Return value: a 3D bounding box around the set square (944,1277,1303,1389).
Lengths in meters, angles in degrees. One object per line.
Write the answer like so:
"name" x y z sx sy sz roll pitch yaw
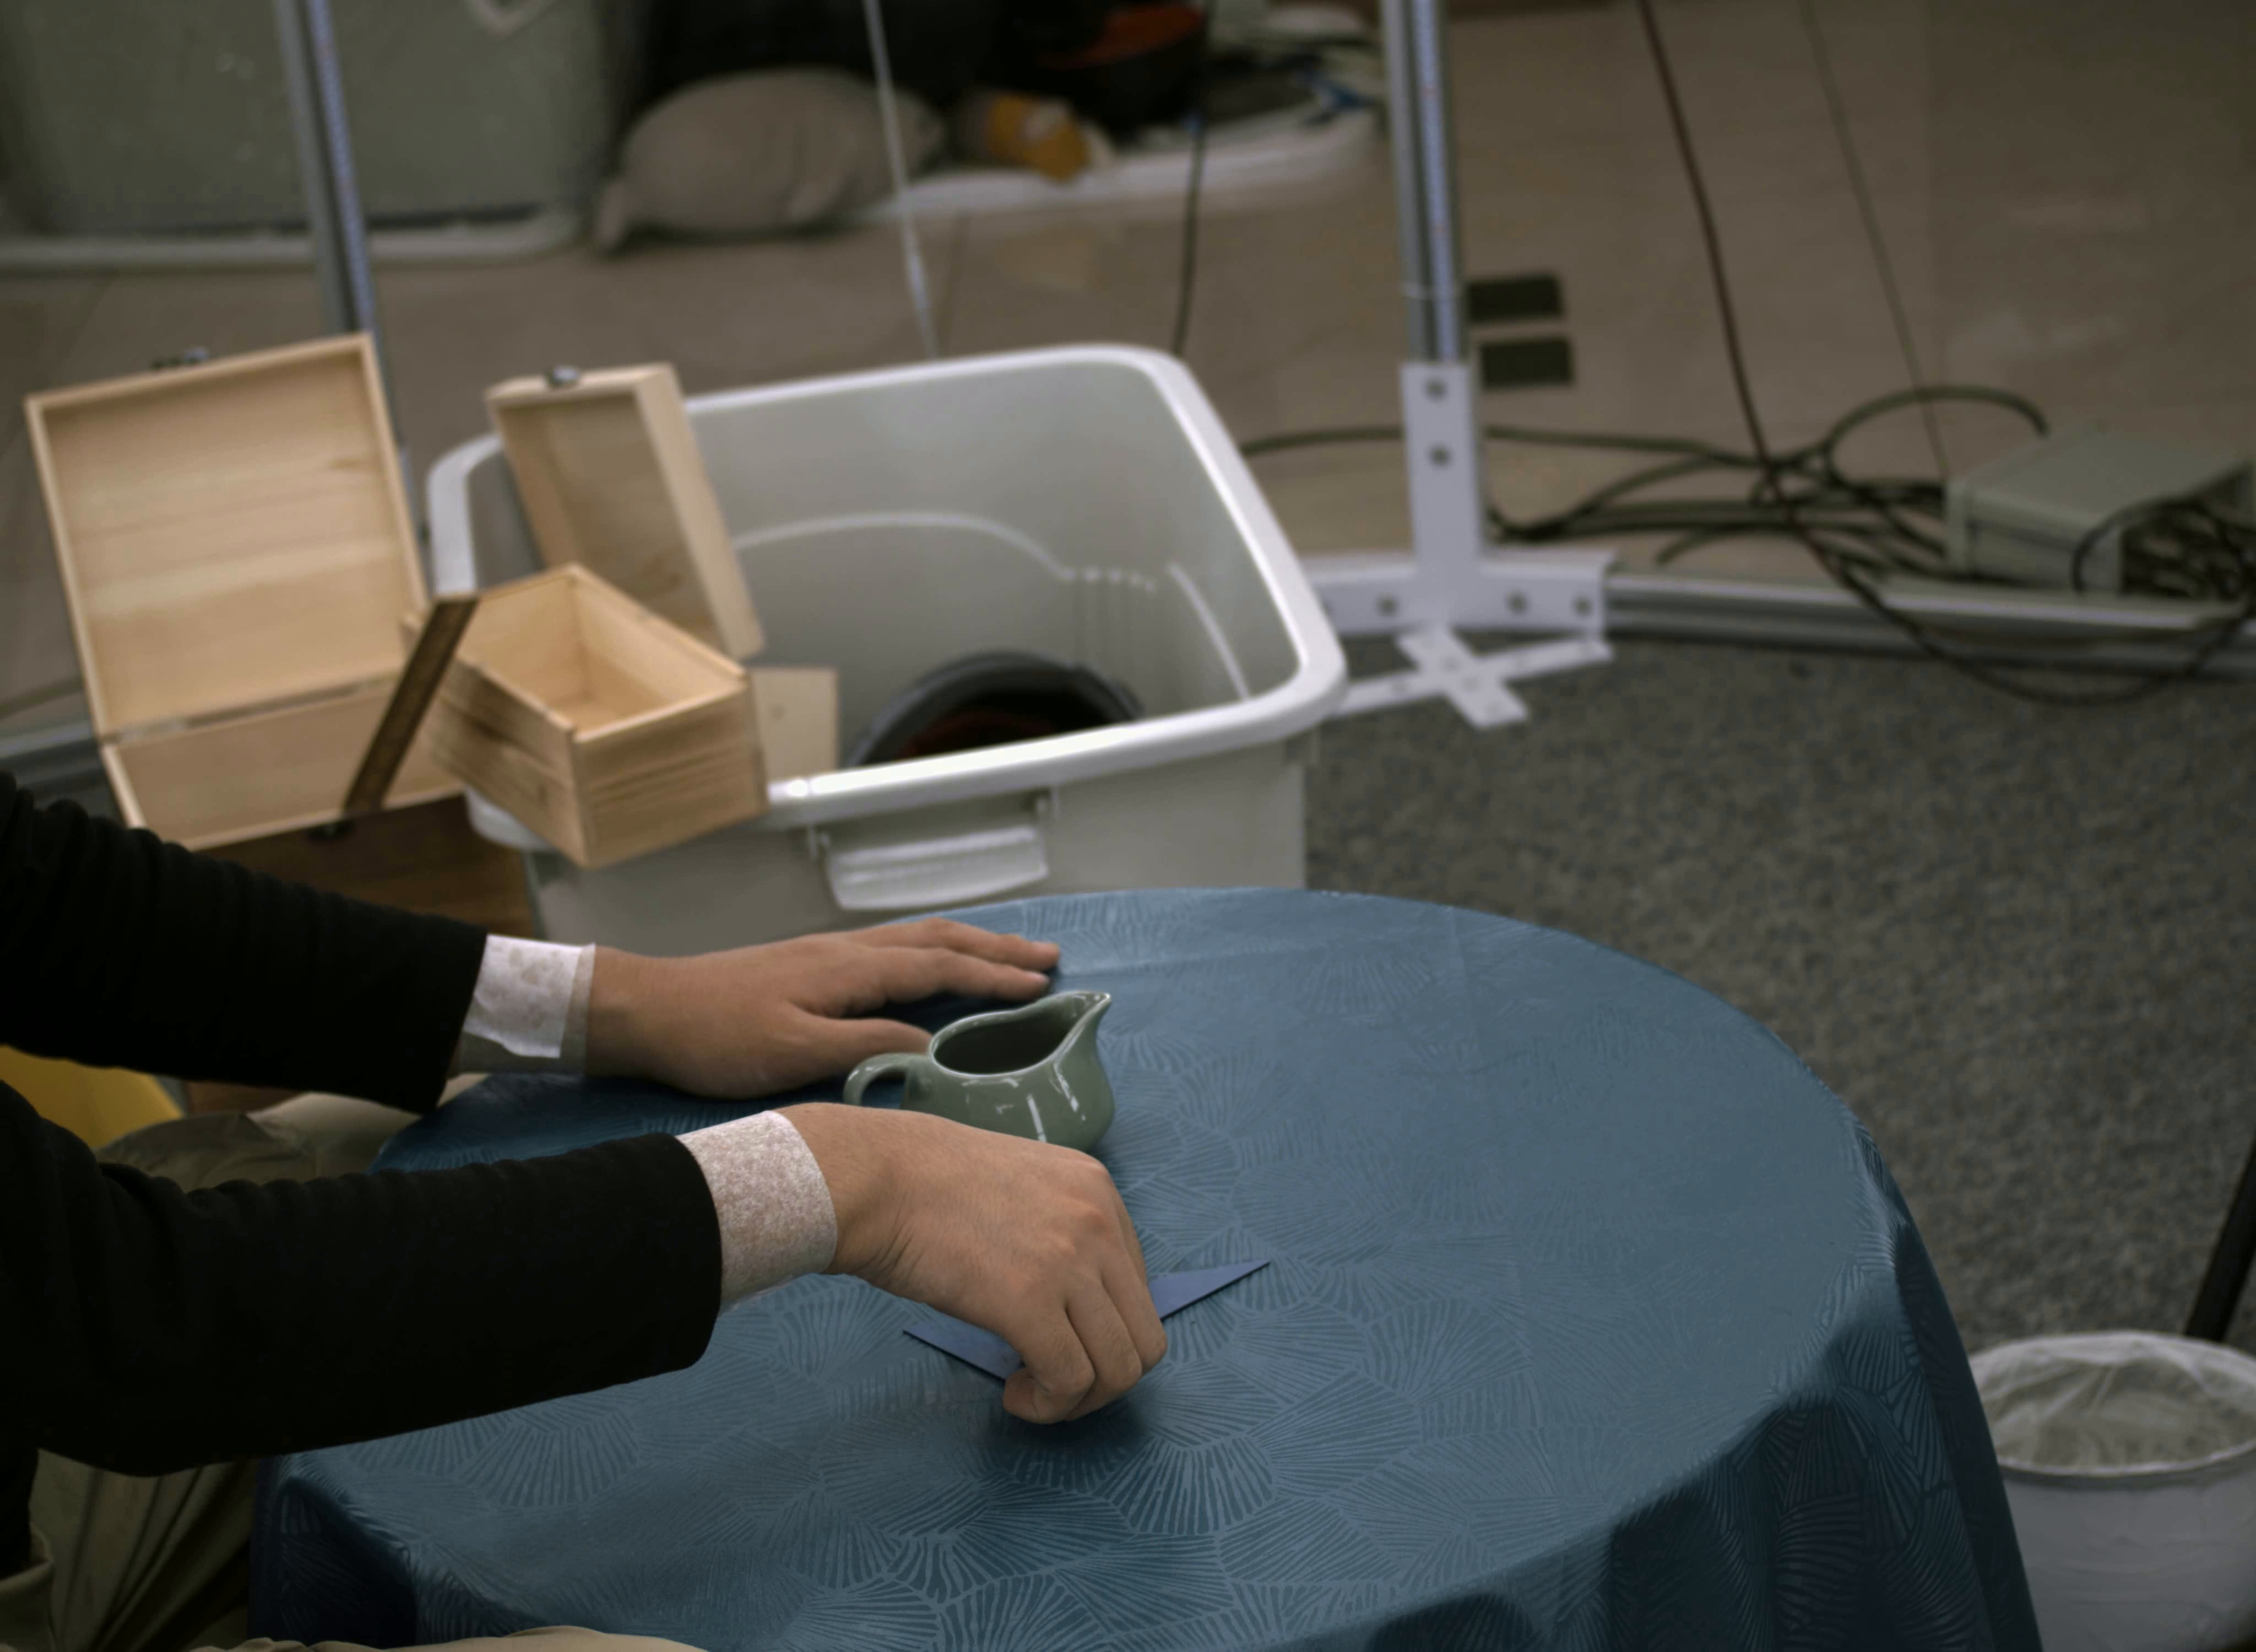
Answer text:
"set square" 0.001 0.183 2.049 0.132 0.006 0.060 -8 23 -4

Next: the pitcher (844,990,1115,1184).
"pitcher" -0.054 0.103 2.172 0.112 0.057 0.083 -16 25 -20
